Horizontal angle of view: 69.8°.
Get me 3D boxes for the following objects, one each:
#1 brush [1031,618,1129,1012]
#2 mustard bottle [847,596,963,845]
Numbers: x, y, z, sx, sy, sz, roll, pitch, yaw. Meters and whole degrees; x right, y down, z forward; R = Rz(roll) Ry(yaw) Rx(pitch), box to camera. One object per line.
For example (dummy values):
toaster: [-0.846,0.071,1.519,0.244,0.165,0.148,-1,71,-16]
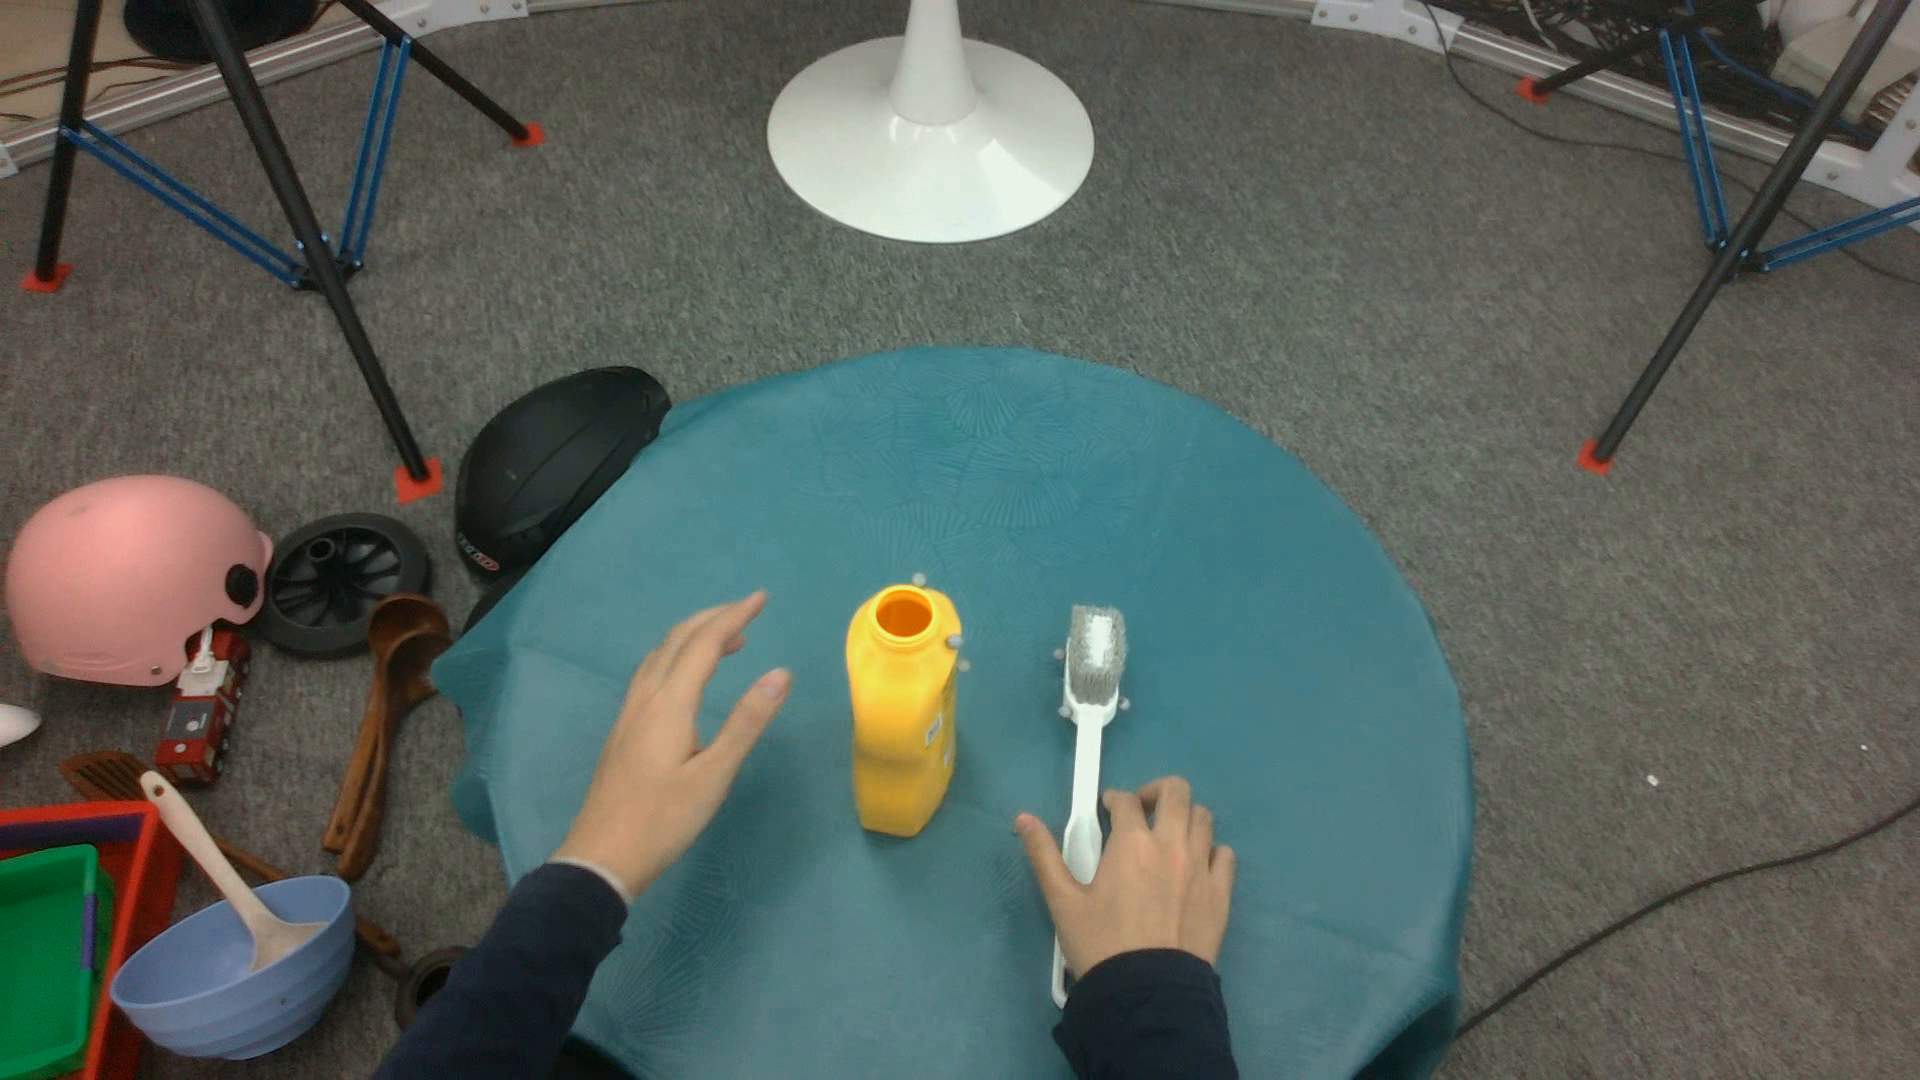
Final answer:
brush: [0.071,0.150,0.809,0.034,0.050,0.245,12,52,0]
mustard bottle: [-0.029,0.094,0.770,0.059,0.171,0.098,5,55,5]
